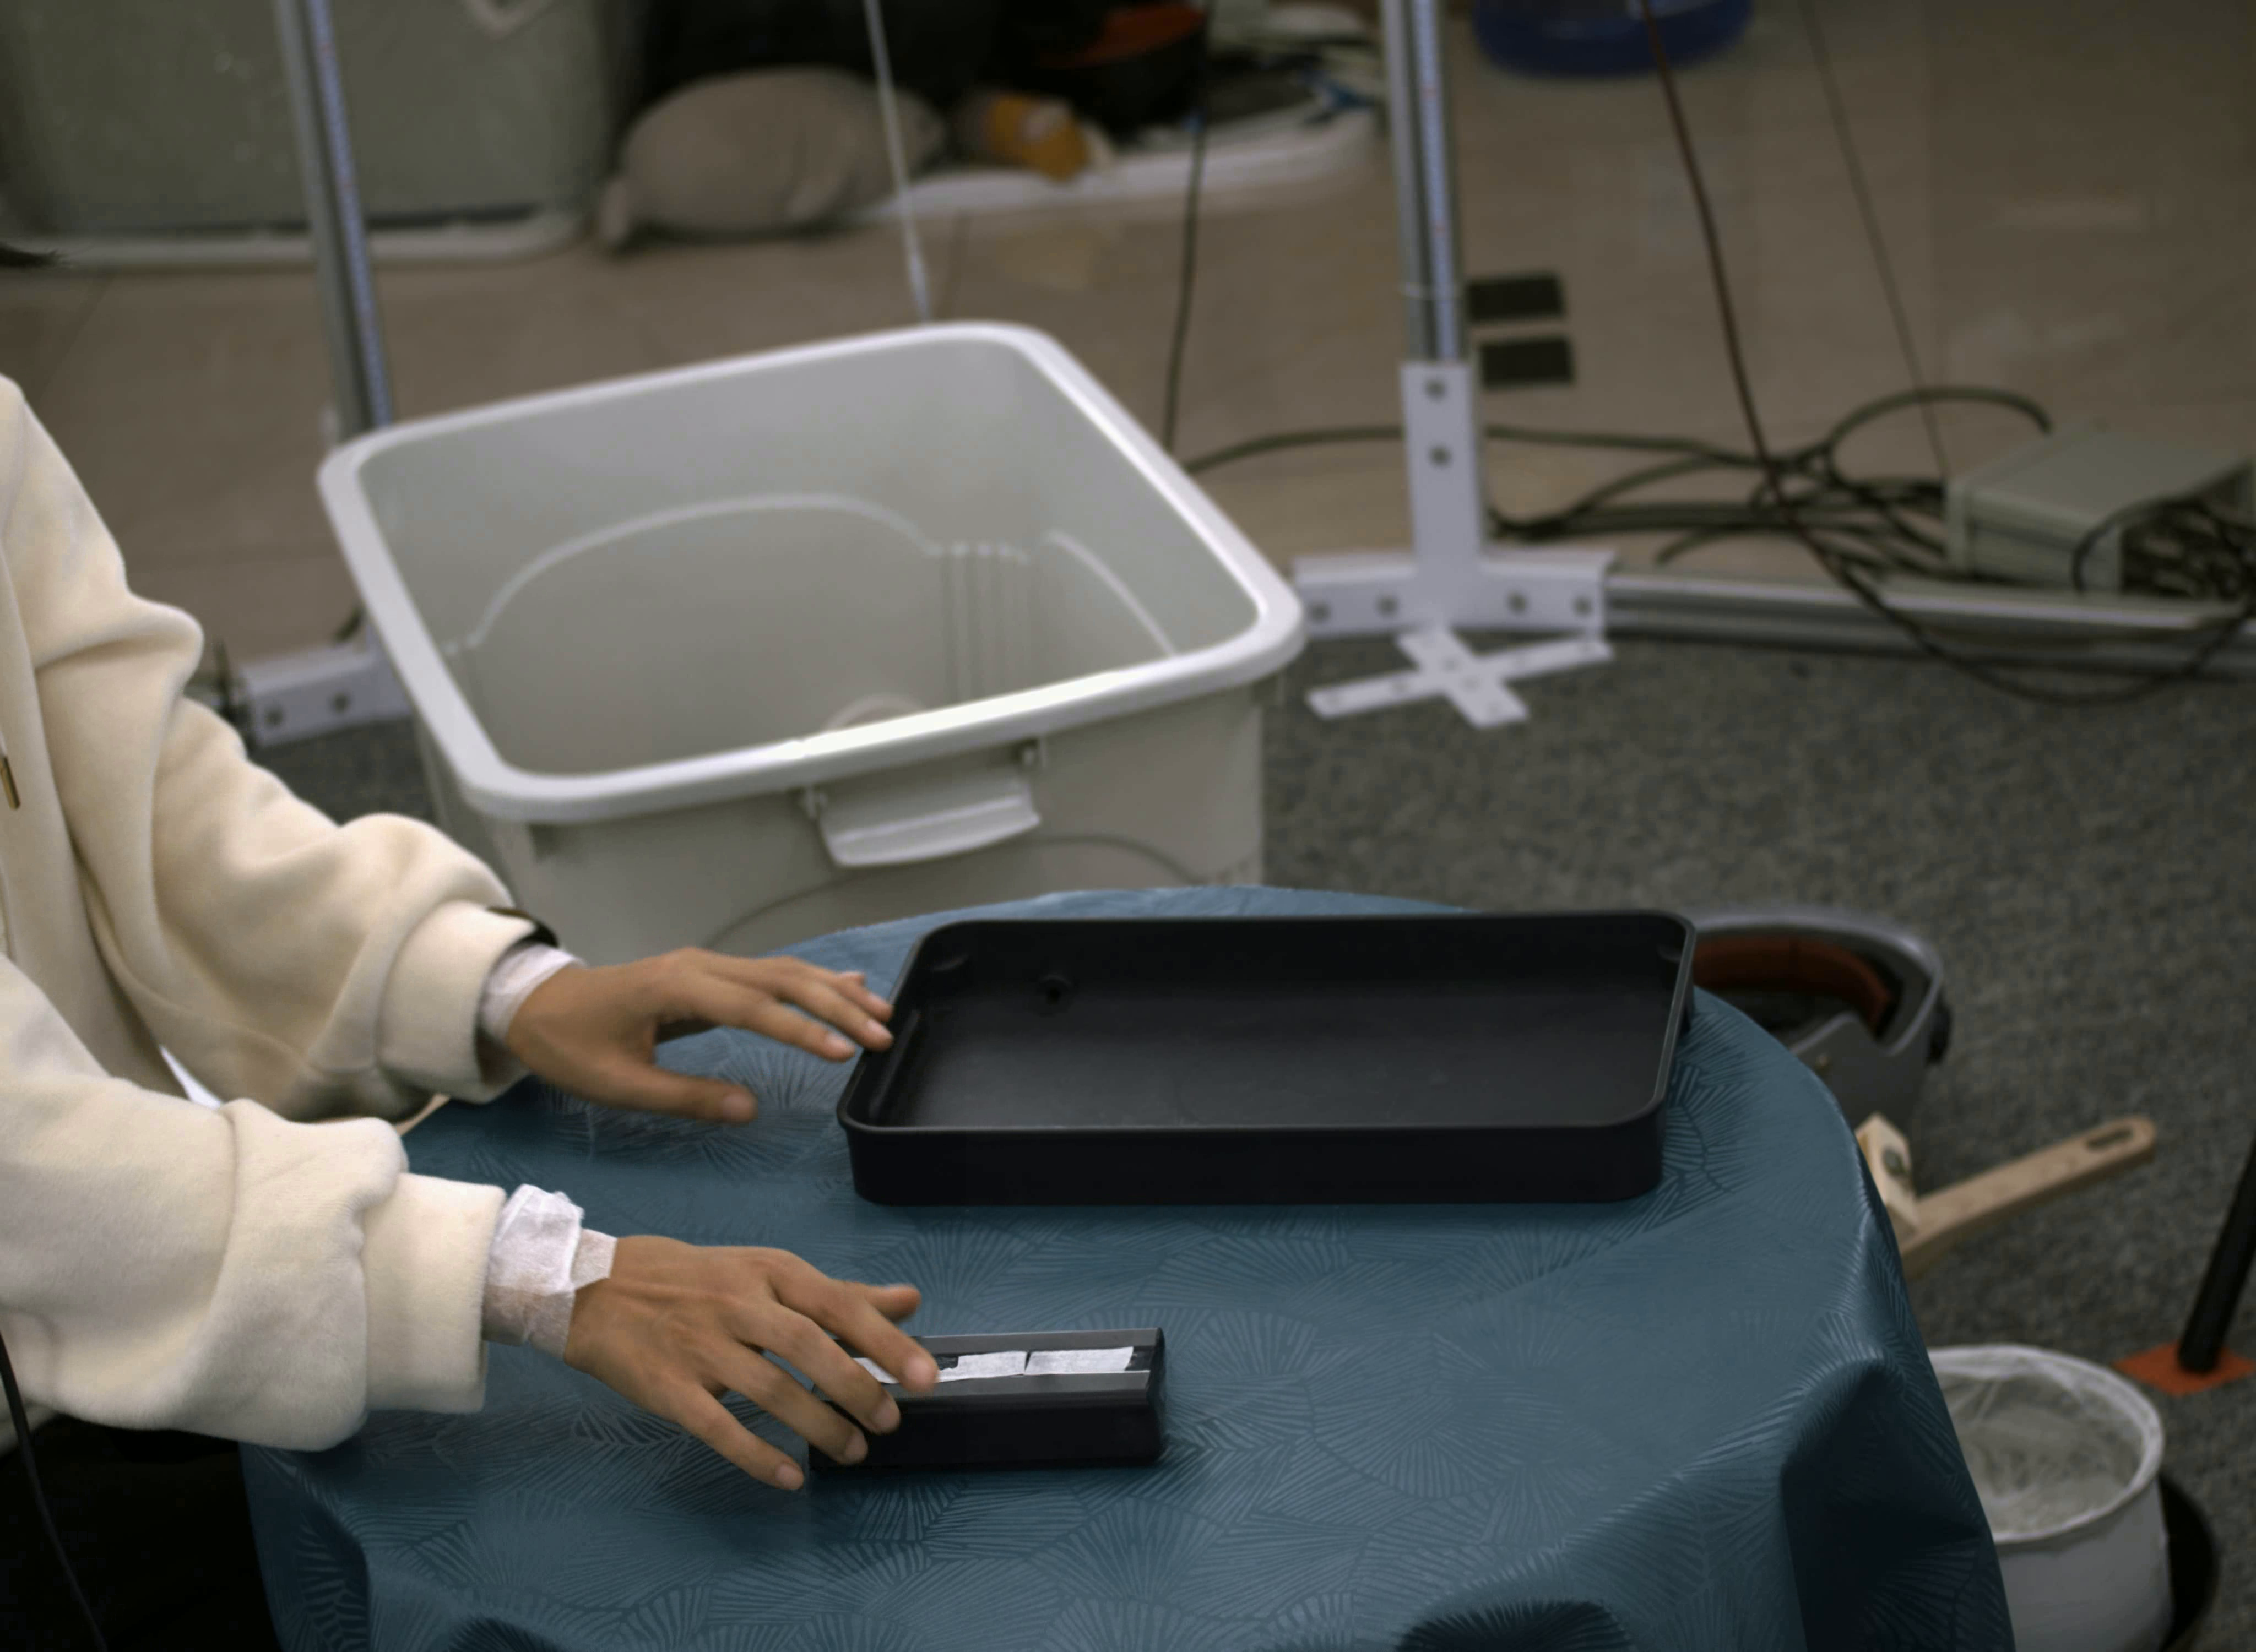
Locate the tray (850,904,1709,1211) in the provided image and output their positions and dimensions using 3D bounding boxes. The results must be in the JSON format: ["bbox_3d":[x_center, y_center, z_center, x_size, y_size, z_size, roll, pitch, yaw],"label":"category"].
[{"bbox_3d":[0.063,0.089,2.197,0.317,0.037,0.181,-2,25,11],"label":"tray"}]

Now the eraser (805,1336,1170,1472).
[{"bbox_3d":[-0.048,0.202,1.990,0.125,0.031,0.053,-3,21,8],"label":"eraser"}]
